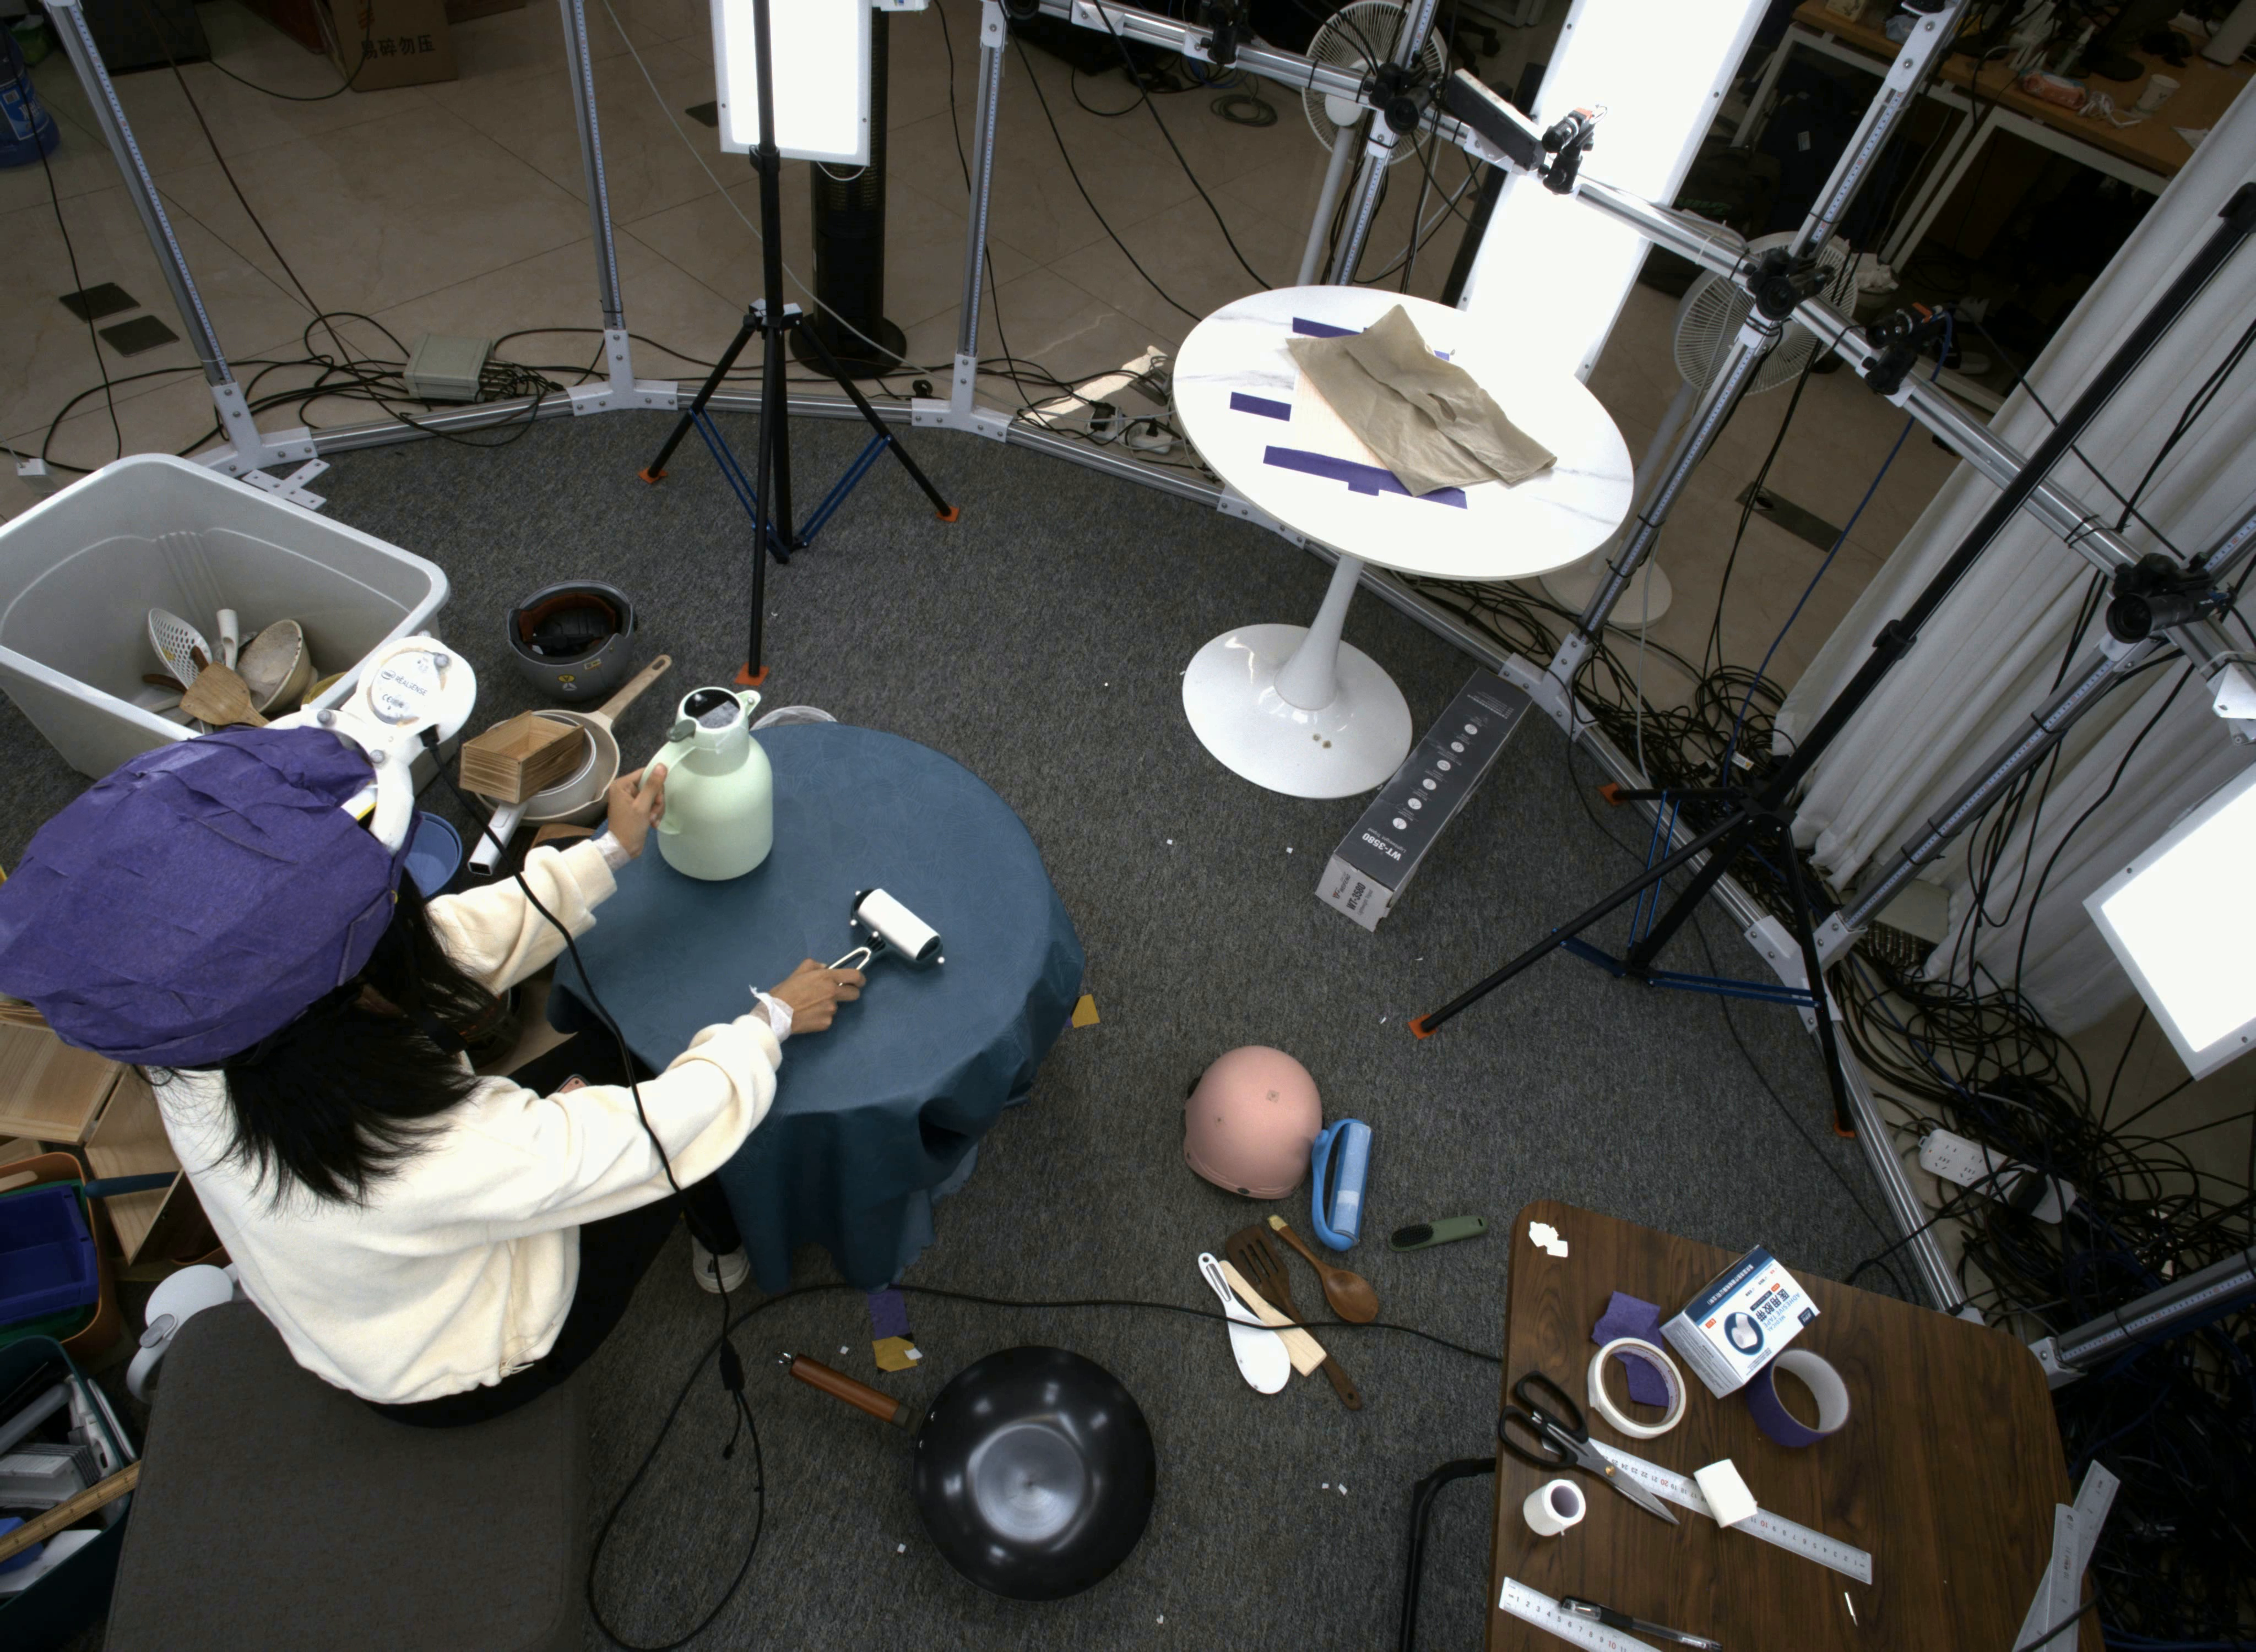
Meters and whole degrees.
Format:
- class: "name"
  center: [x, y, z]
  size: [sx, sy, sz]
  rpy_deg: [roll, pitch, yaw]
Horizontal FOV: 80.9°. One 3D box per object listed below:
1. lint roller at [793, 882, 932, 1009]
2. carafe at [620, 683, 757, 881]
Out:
- class: "lint roller"
  center: [-0.338, 0.154, 1.580]
  size: [0.131, 0.049, 0.180]
  rpy_deg: [36, 43, 14]
- class: "carafe"
  center: [-0.535, -0.051, 1.562]
  size: [0.142, 0.261, 0.186]
  rpy_deg: [35, 54, 12]
